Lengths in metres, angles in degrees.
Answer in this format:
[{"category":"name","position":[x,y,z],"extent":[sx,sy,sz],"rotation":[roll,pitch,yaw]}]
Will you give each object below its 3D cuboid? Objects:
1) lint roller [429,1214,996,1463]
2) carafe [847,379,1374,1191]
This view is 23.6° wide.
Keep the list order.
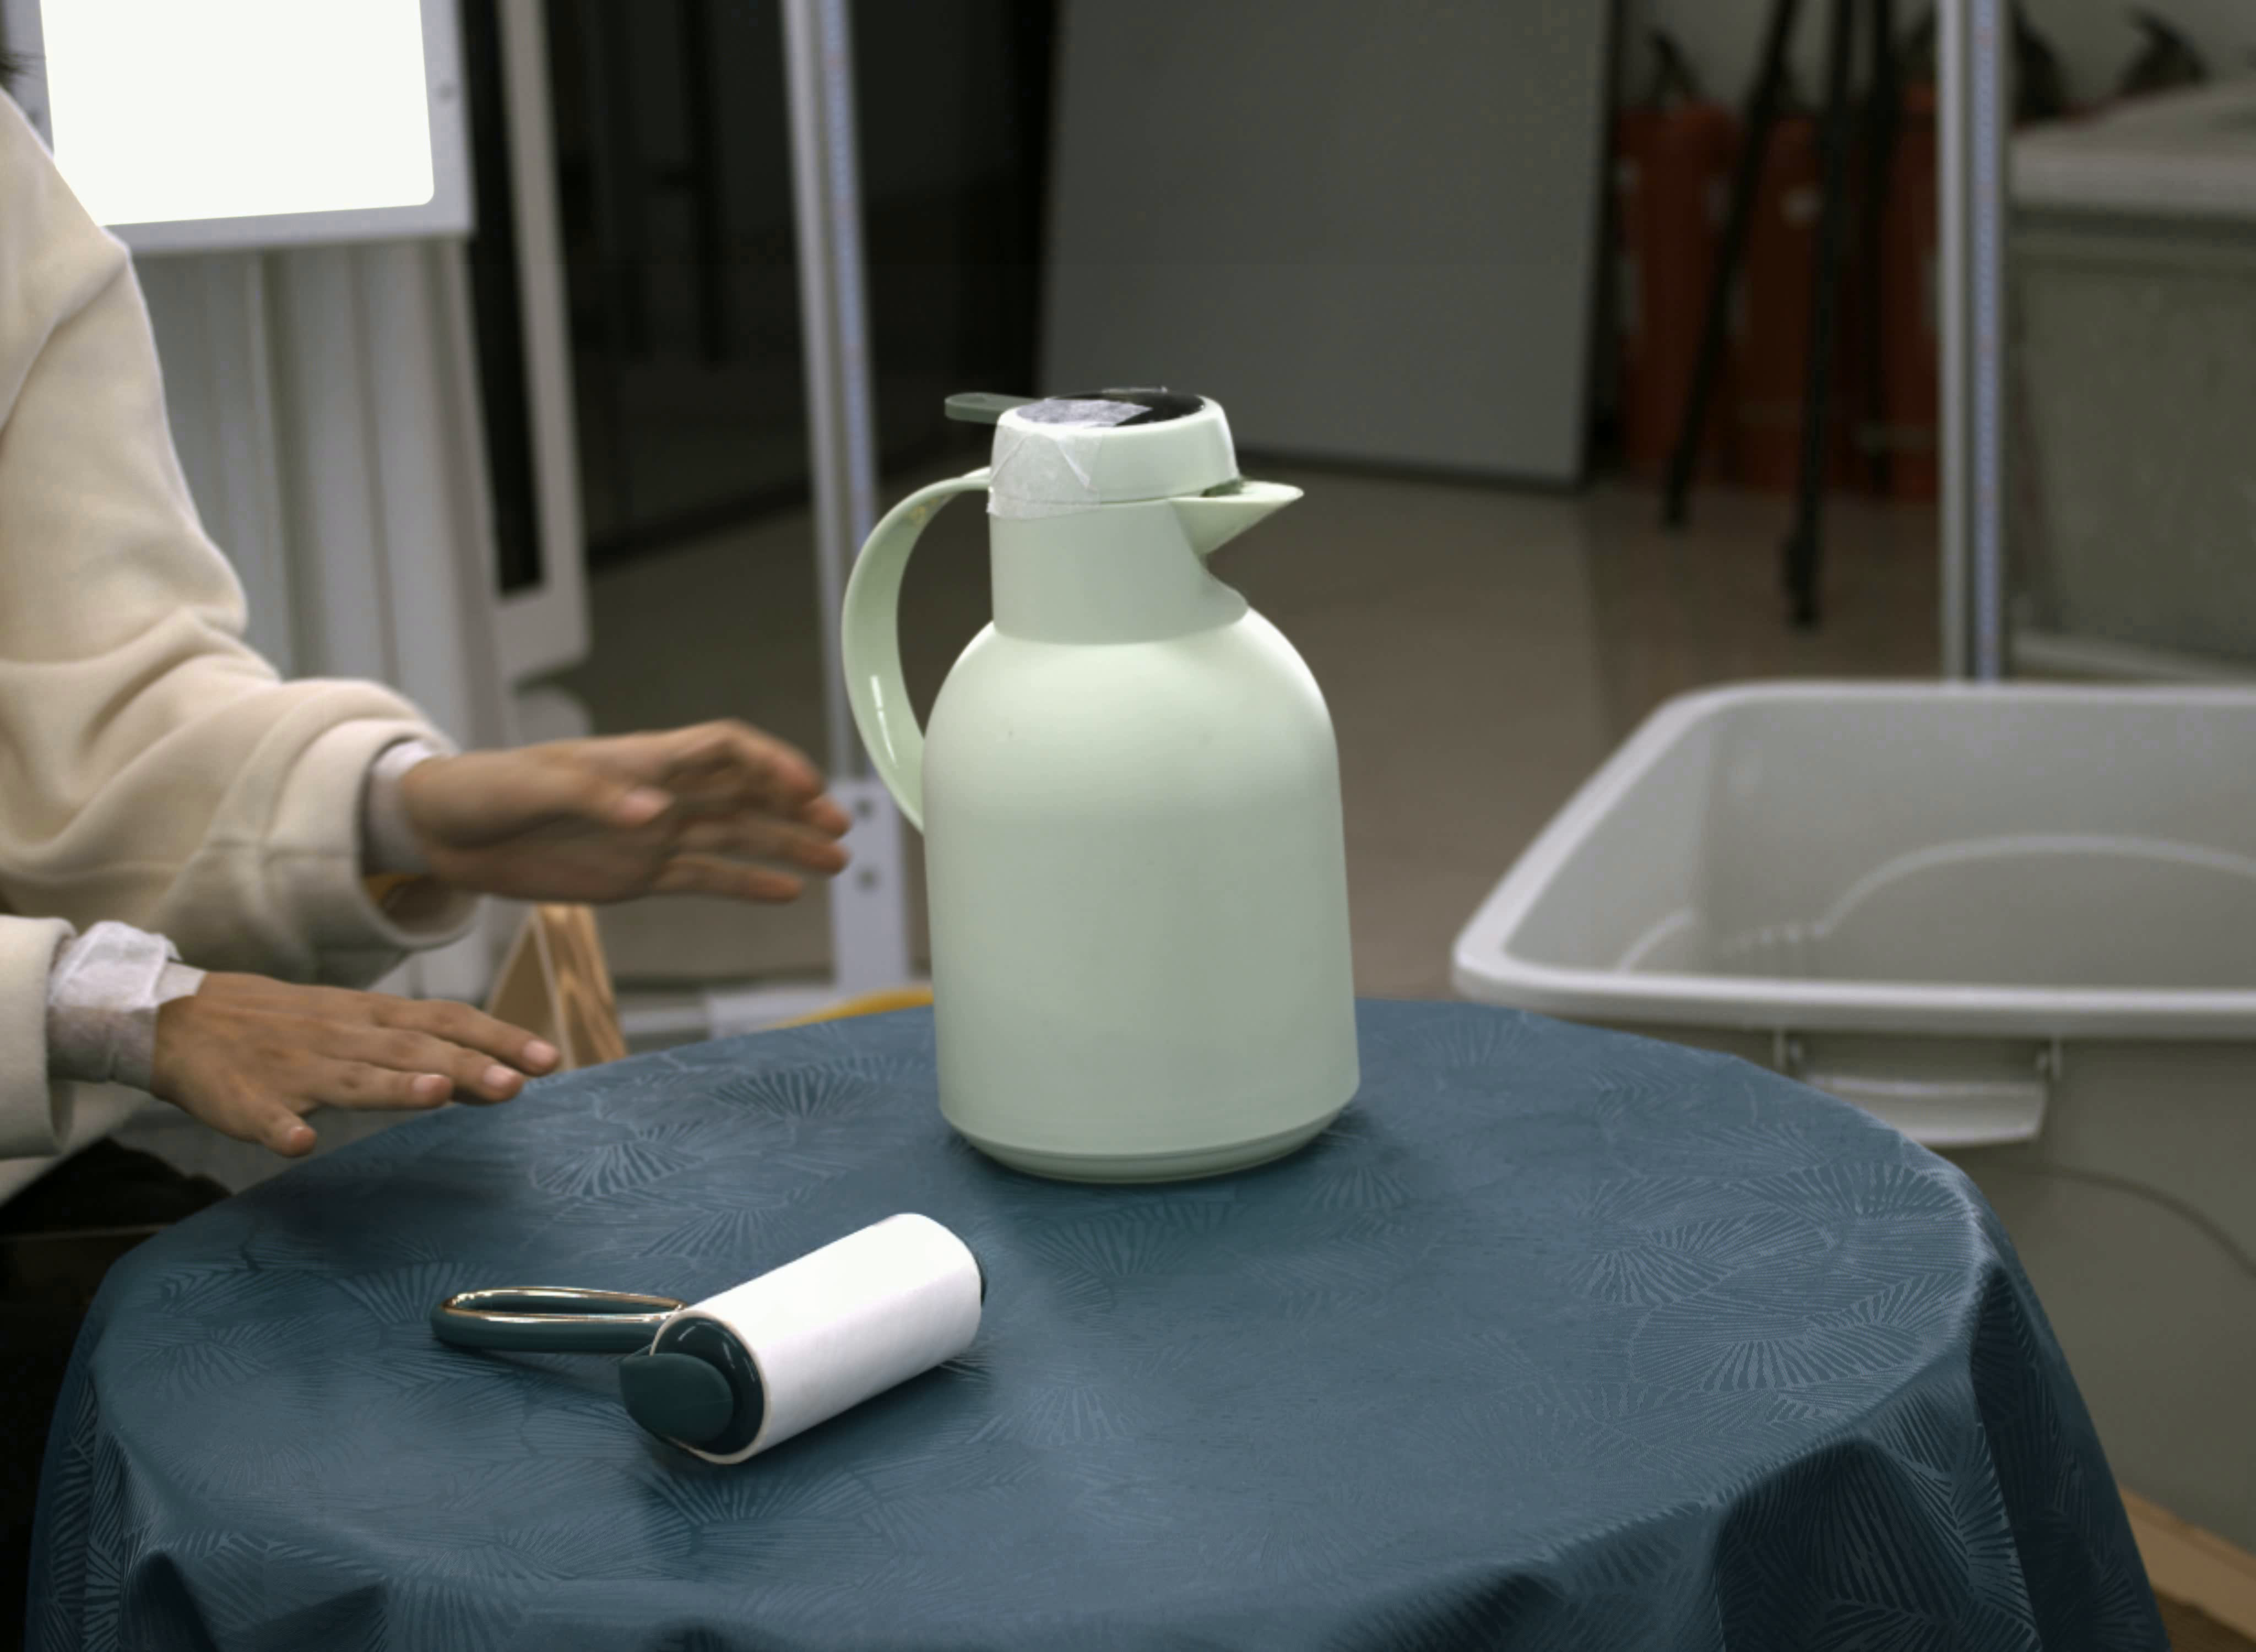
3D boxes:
[{"category":"lint roller","position":[-0.144,0.143,1.623],"extent":[0.181,0.049,0.132],"rotation":[7,17,38]},{"category":"carafe","position":[-0.009,-0.018,1.815],"extent":[0.188,0.259,0.142],"rotation":[2,16,38]}]
